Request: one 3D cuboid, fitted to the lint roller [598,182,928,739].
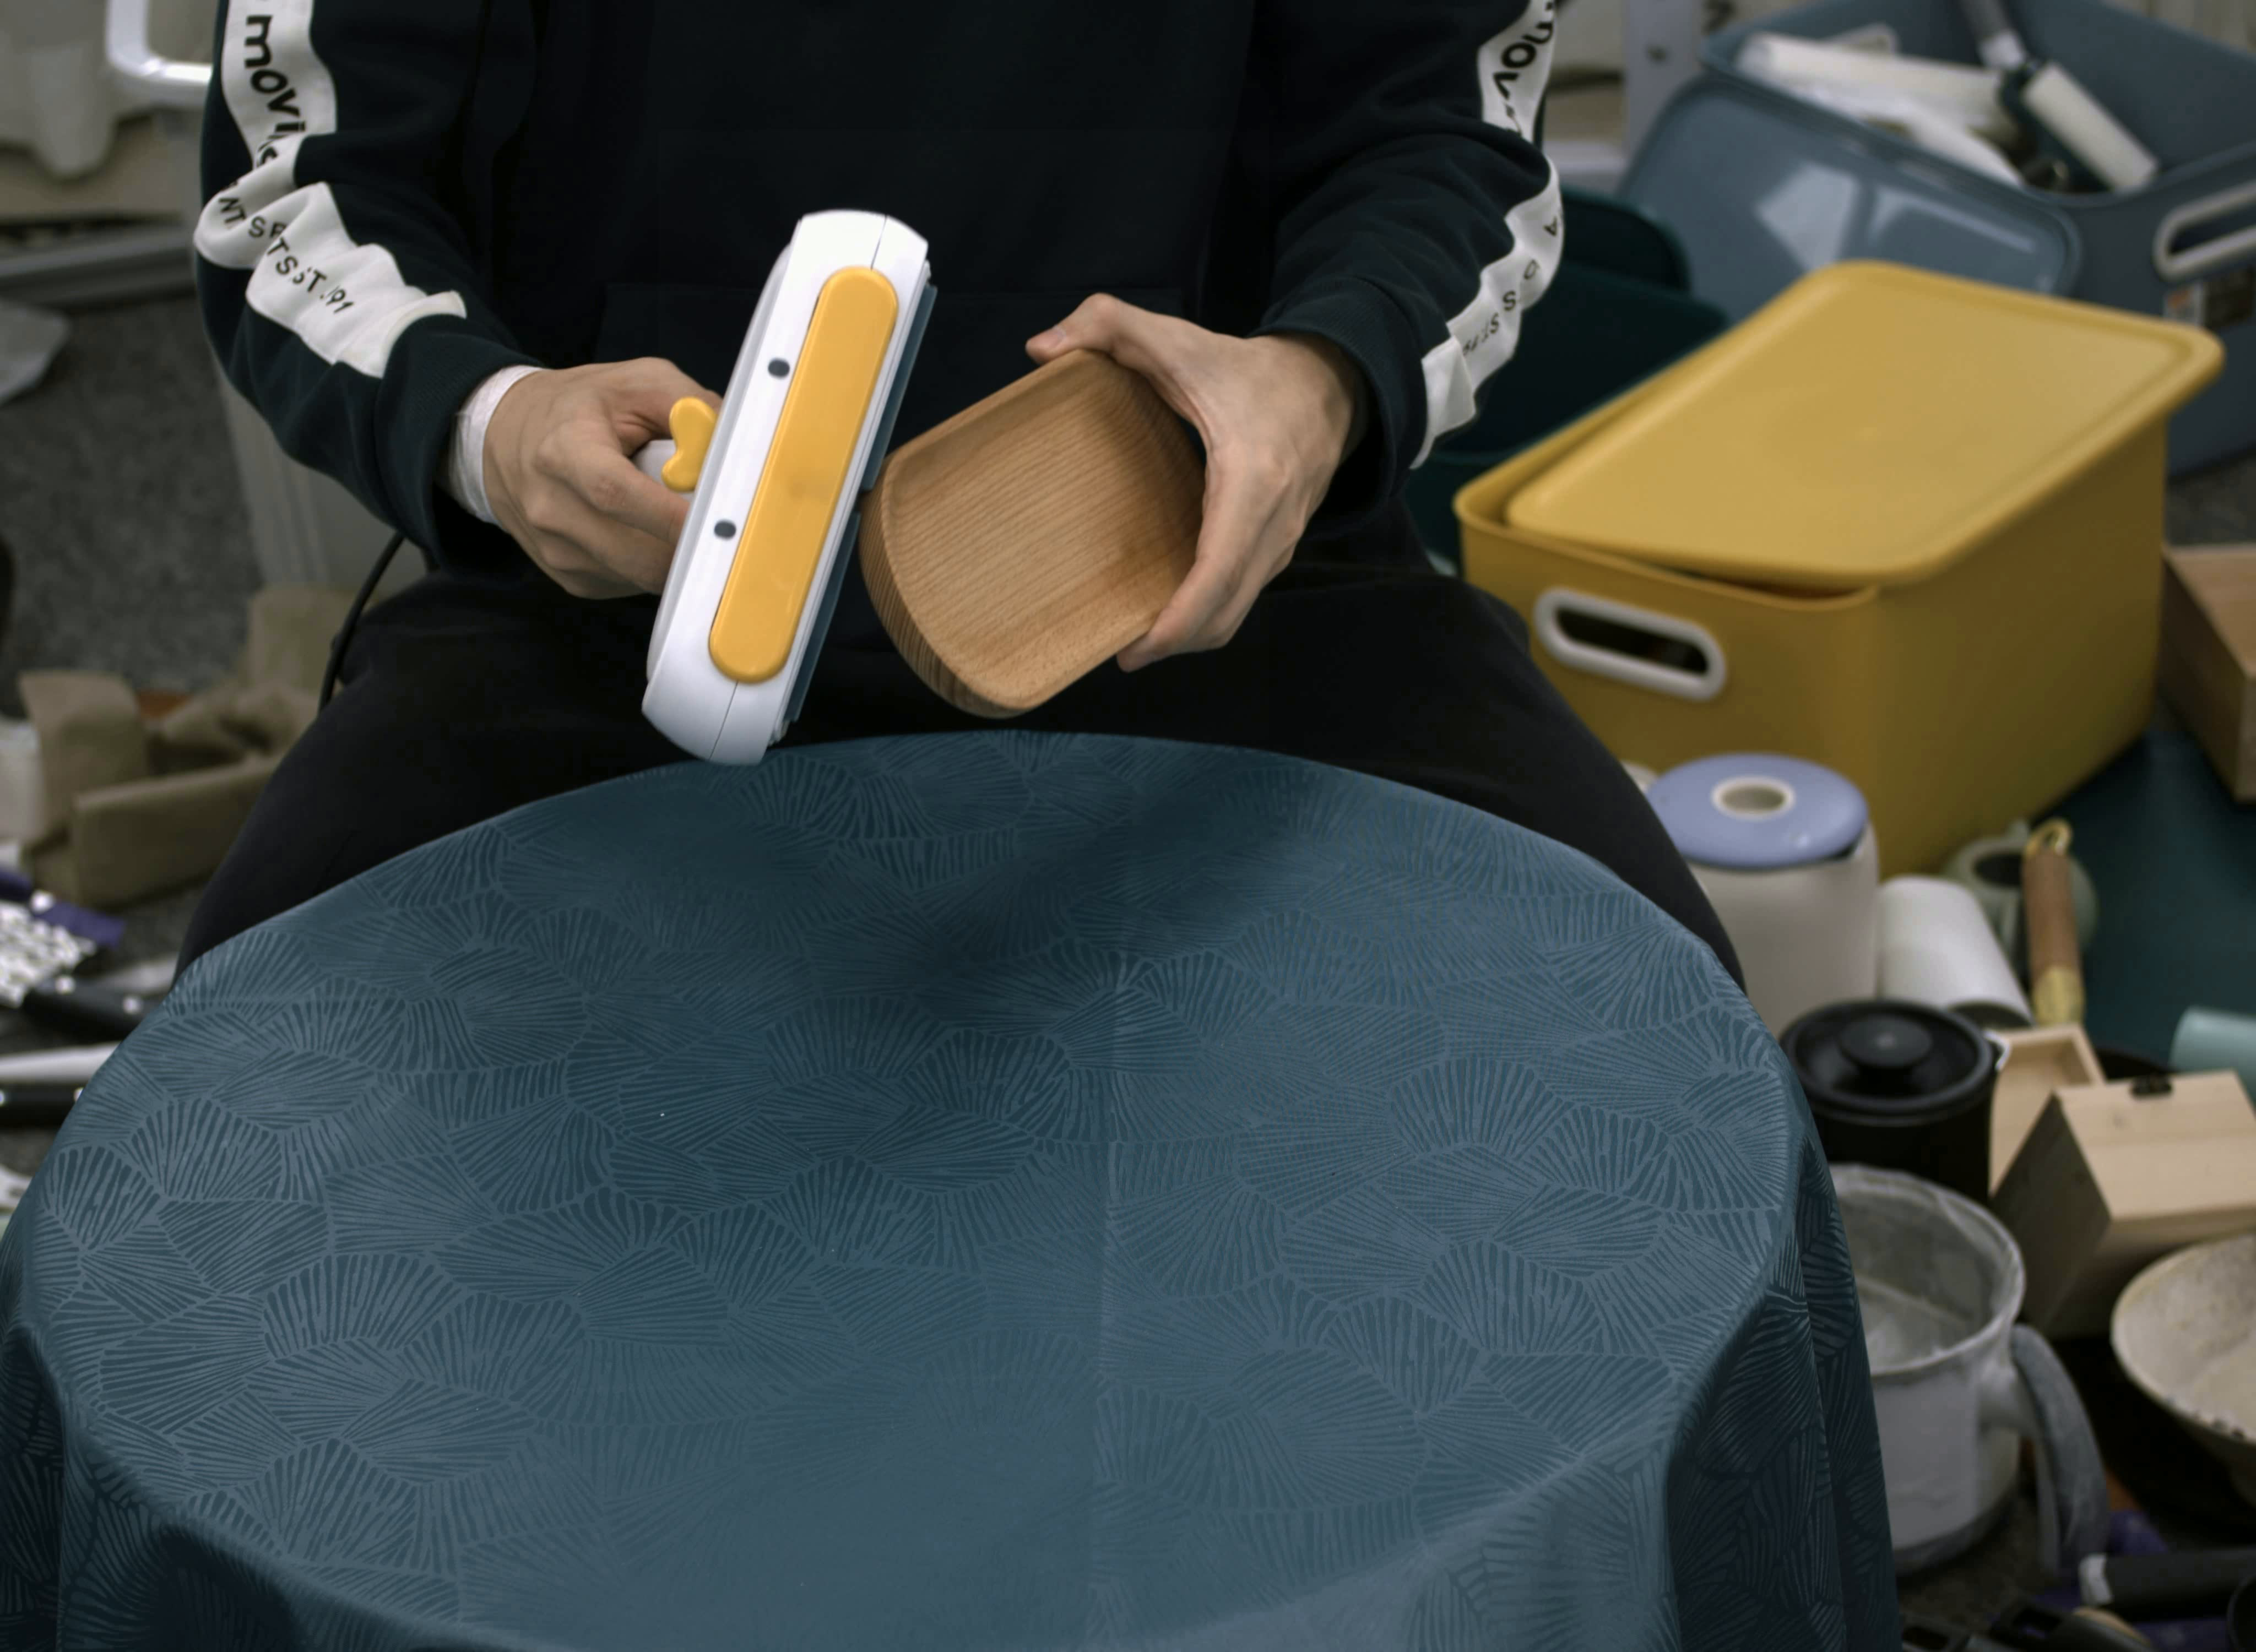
[{"bbox_3d":[-0.136,-0.119,1.948,0.074,0.195,0.191,15,-12,-14],"label":"lint roller"}]

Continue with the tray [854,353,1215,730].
[{"bbox_3d":[-0.031,-0.100,1.968,0.020,0.102,0.234,-28,5,31],"label":"tray"}]
